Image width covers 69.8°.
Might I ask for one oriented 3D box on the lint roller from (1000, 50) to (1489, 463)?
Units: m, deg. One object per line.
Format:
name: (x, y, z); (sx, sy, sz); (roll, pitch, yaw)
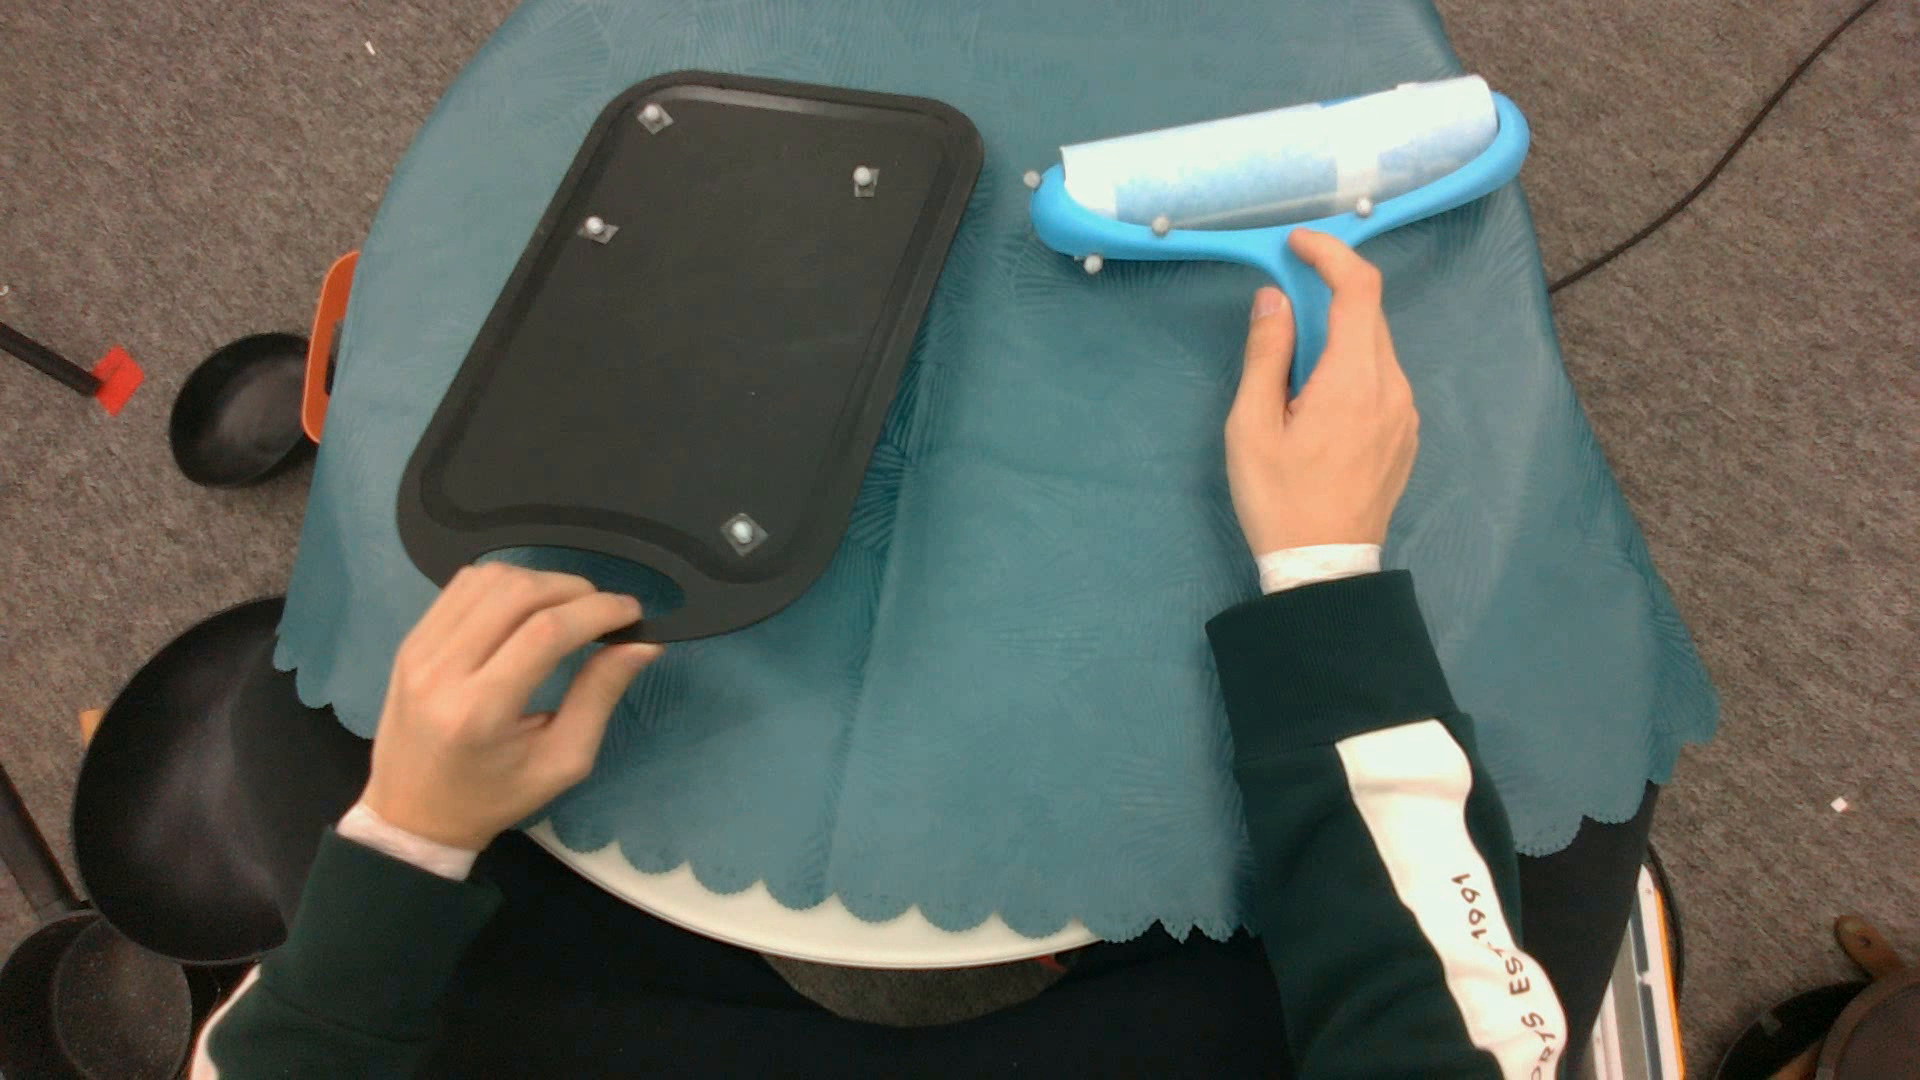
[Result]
lint roller: (0.144, -0.129, 0.633); (0.229, 0.068, 0.180); (-12, 73, 1)

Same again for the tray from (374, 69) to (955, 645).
tray: (-0.133, -0.100, 0.637); (0.211, 0.010, 0.327); (10, 62, 14)
